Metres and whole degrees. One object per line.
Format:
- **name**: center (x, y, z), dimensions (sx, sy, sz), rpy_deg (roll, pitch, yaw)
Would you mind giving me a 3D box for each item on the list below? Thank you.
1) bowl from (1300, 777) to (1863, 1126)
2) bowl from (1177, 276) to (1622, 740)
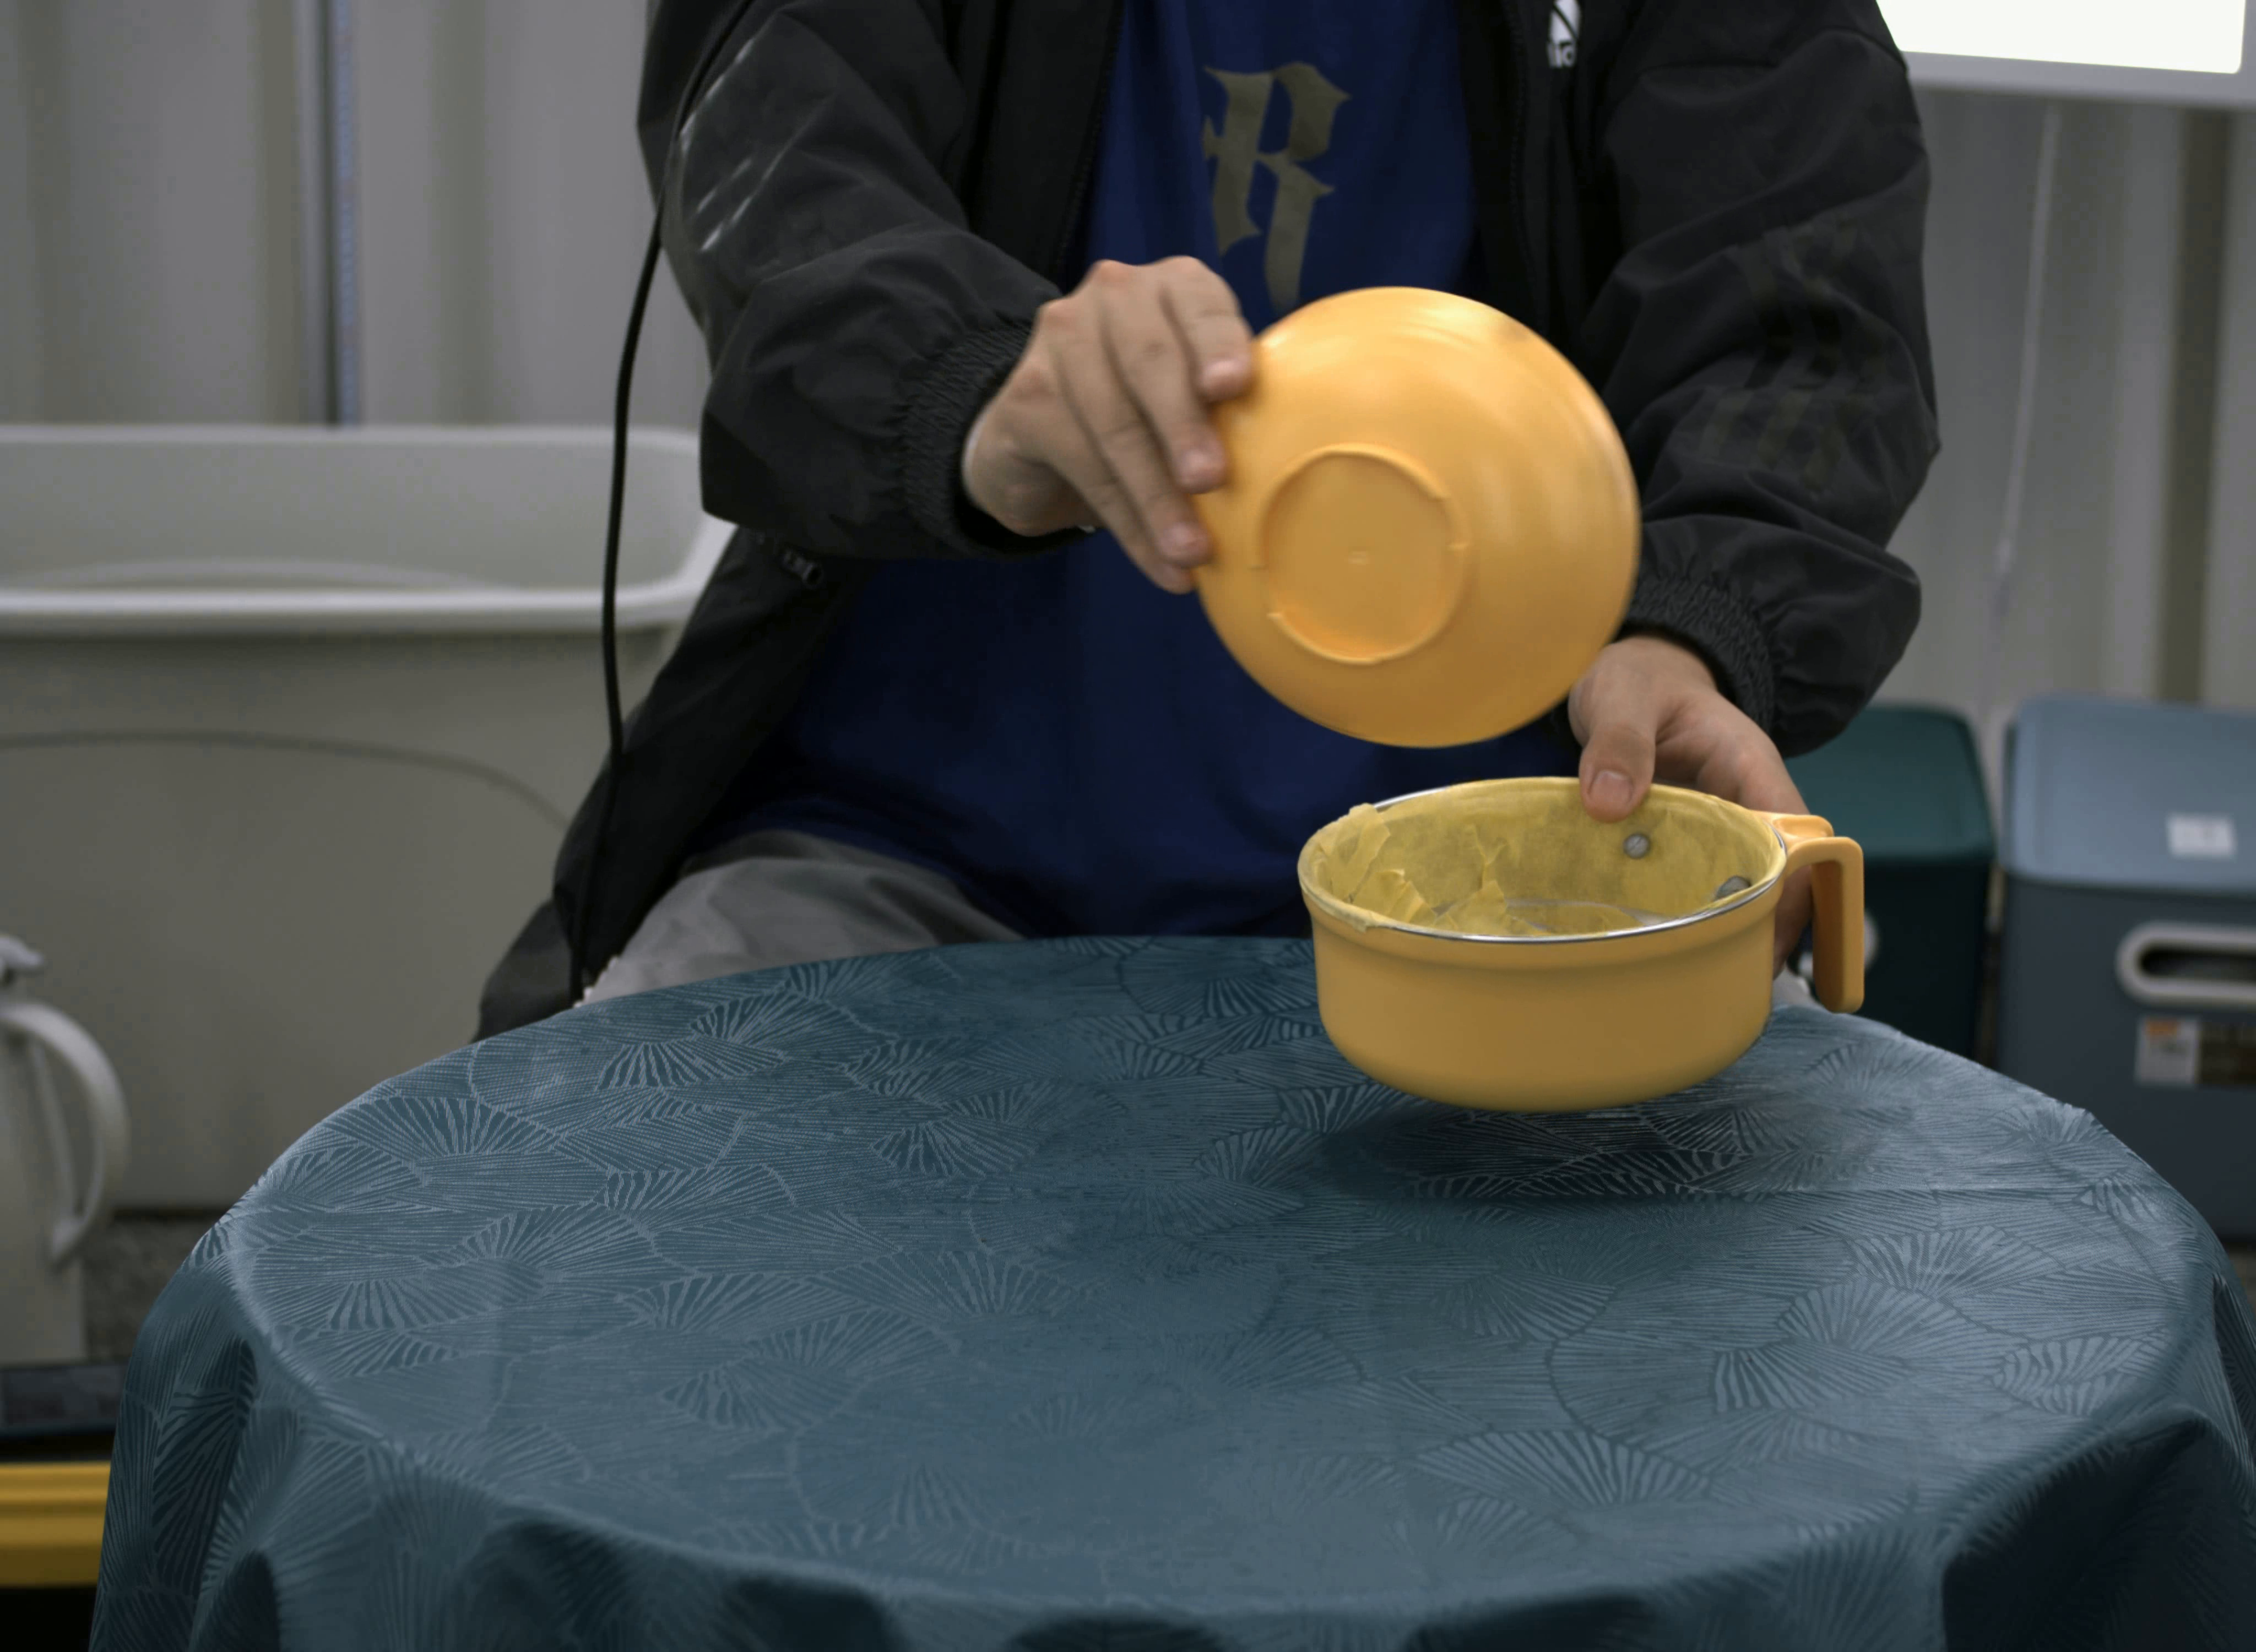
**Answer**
- **bowl**: center (0.144, 0.040, 1.649), dimensions (0.179, 0.075, 0.151), rpy_deg (-10, 19, -18)
- **bowl**: center (0.073, -0.089, 1.592), dimensions (0.144, 0.146, 0.060), rpy_deg (7, 19, 20)
